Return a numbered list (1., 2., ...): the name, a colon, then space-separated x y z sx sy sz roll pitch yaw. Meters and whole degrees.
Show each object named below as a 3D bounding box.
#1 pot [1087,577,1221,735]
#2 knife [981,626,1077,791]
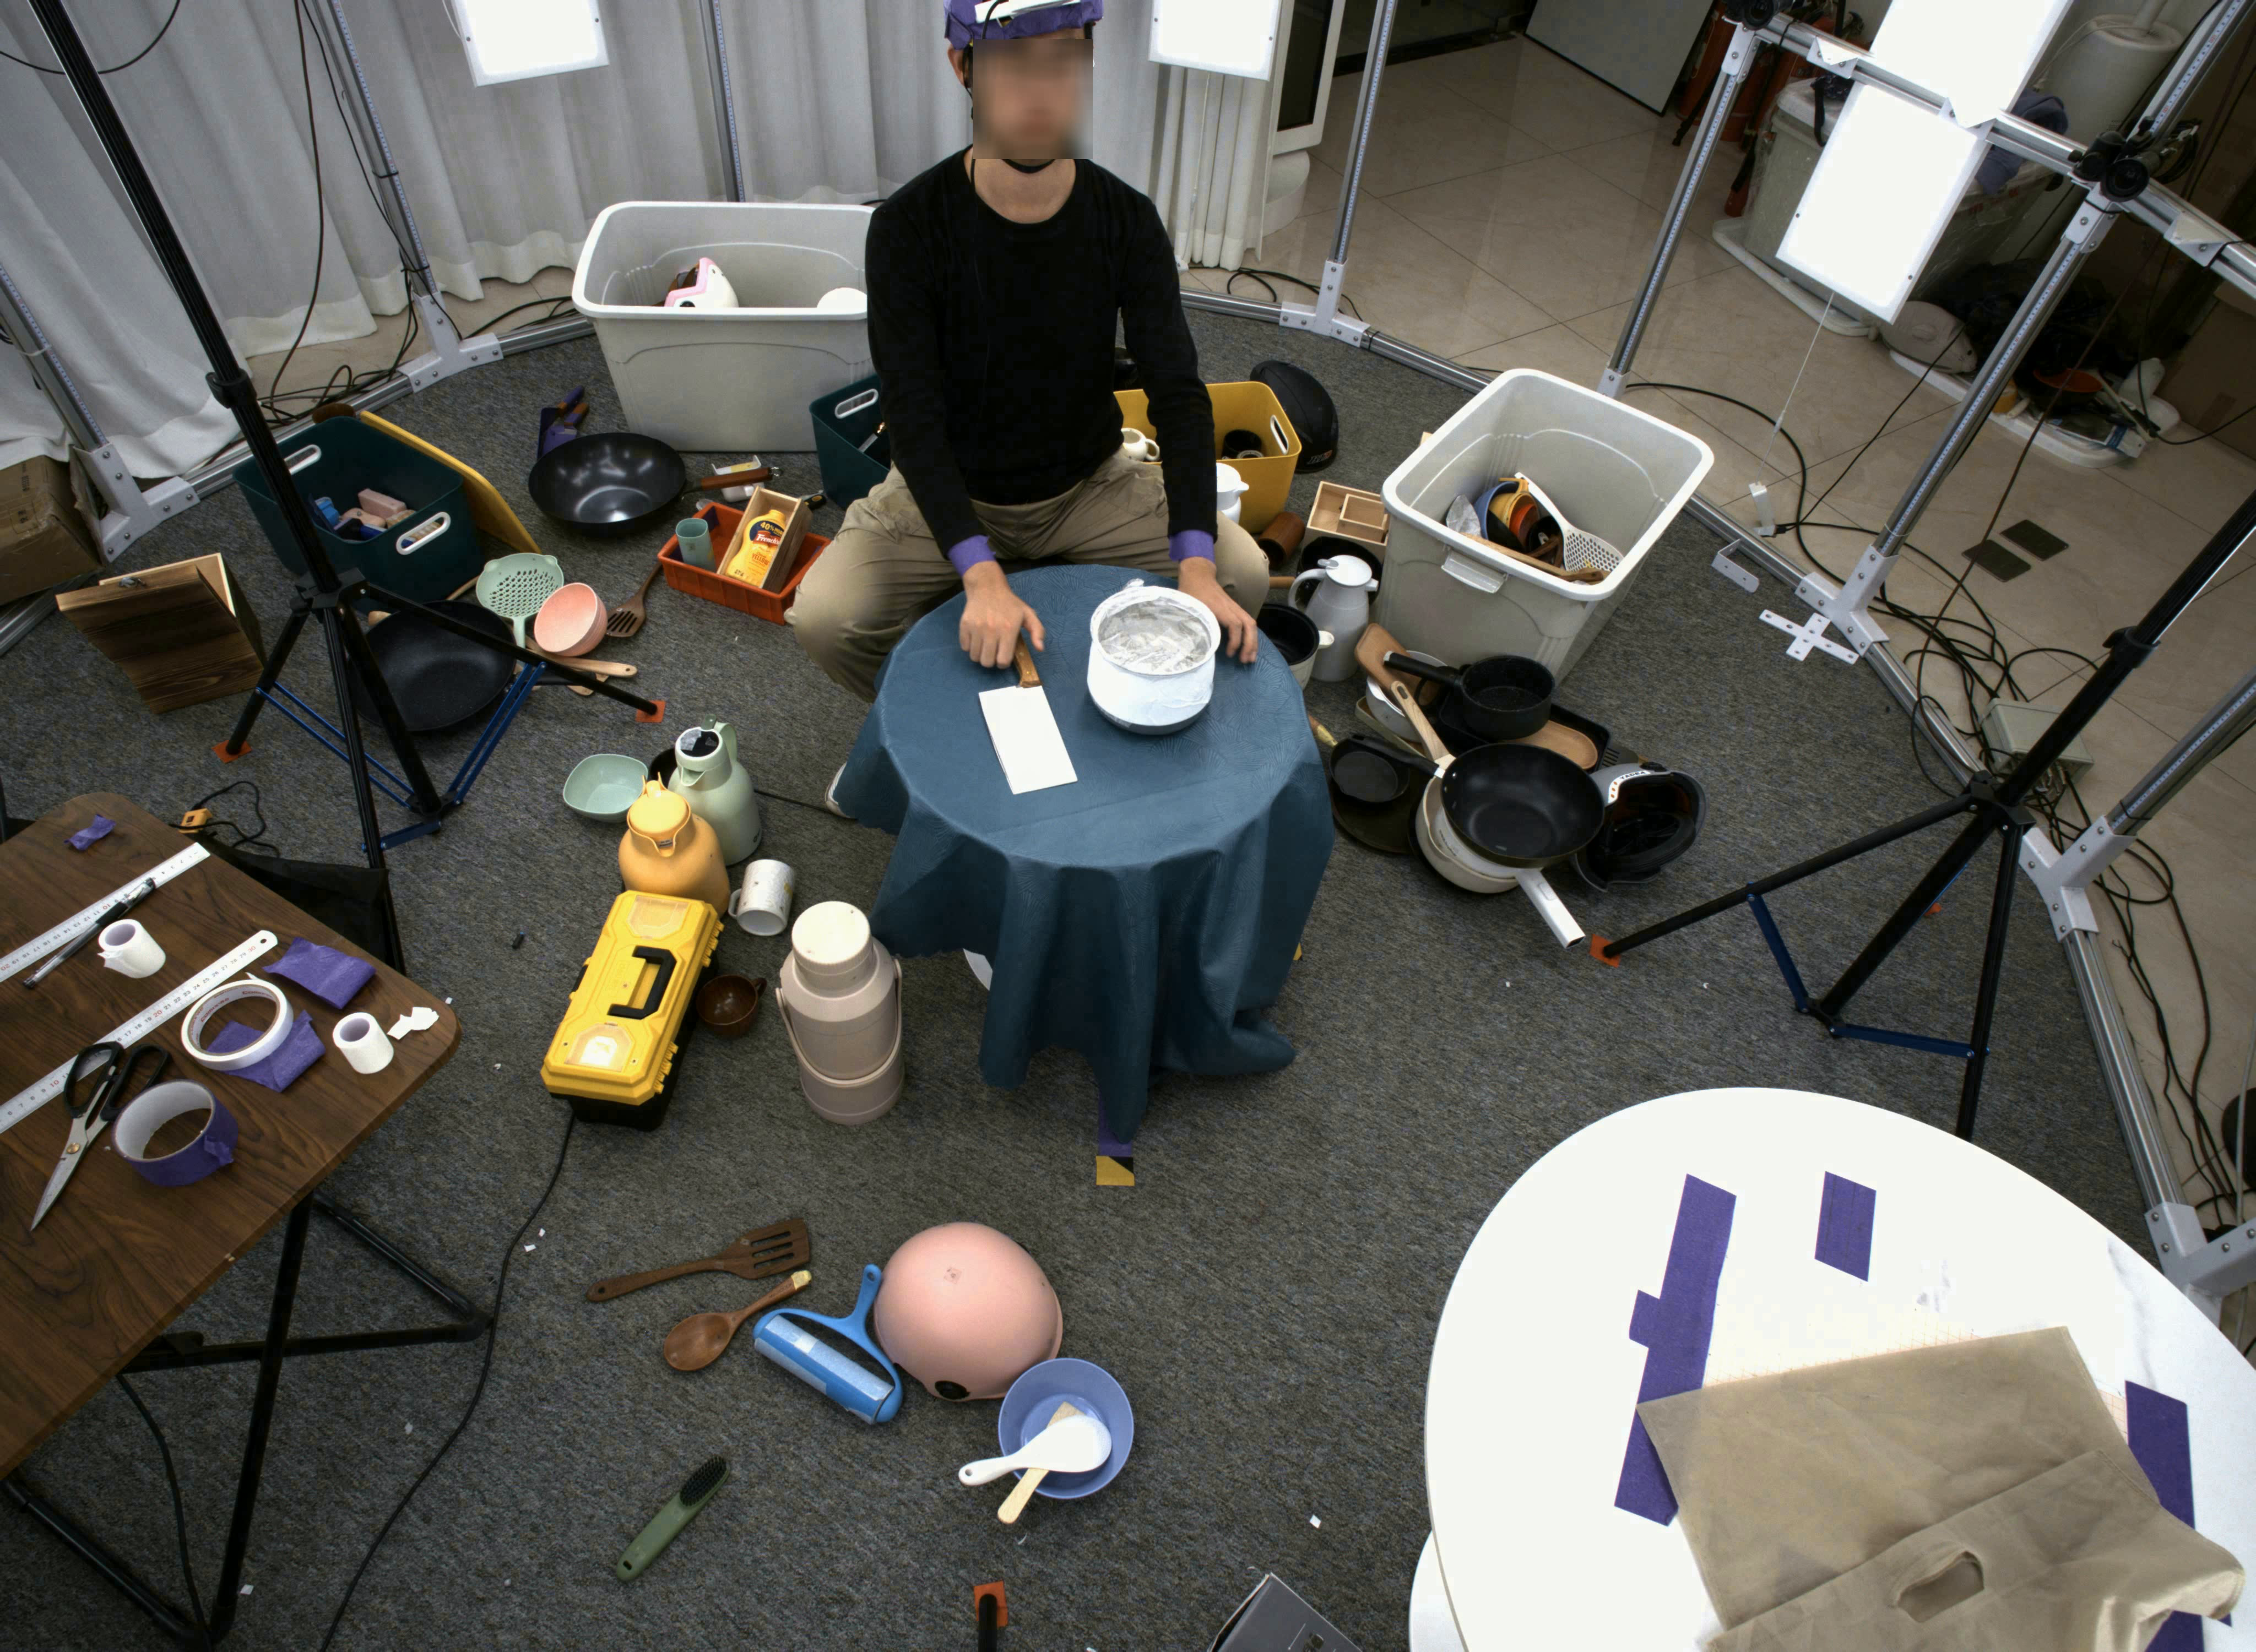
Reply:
1. pot: 0.026 -0.247 1.794 0.178 0.133 0.239 -9 51 -12
2. knife: -0.153 -0.168 1.796 0.093 0.020 0.313 -11 52 -13
